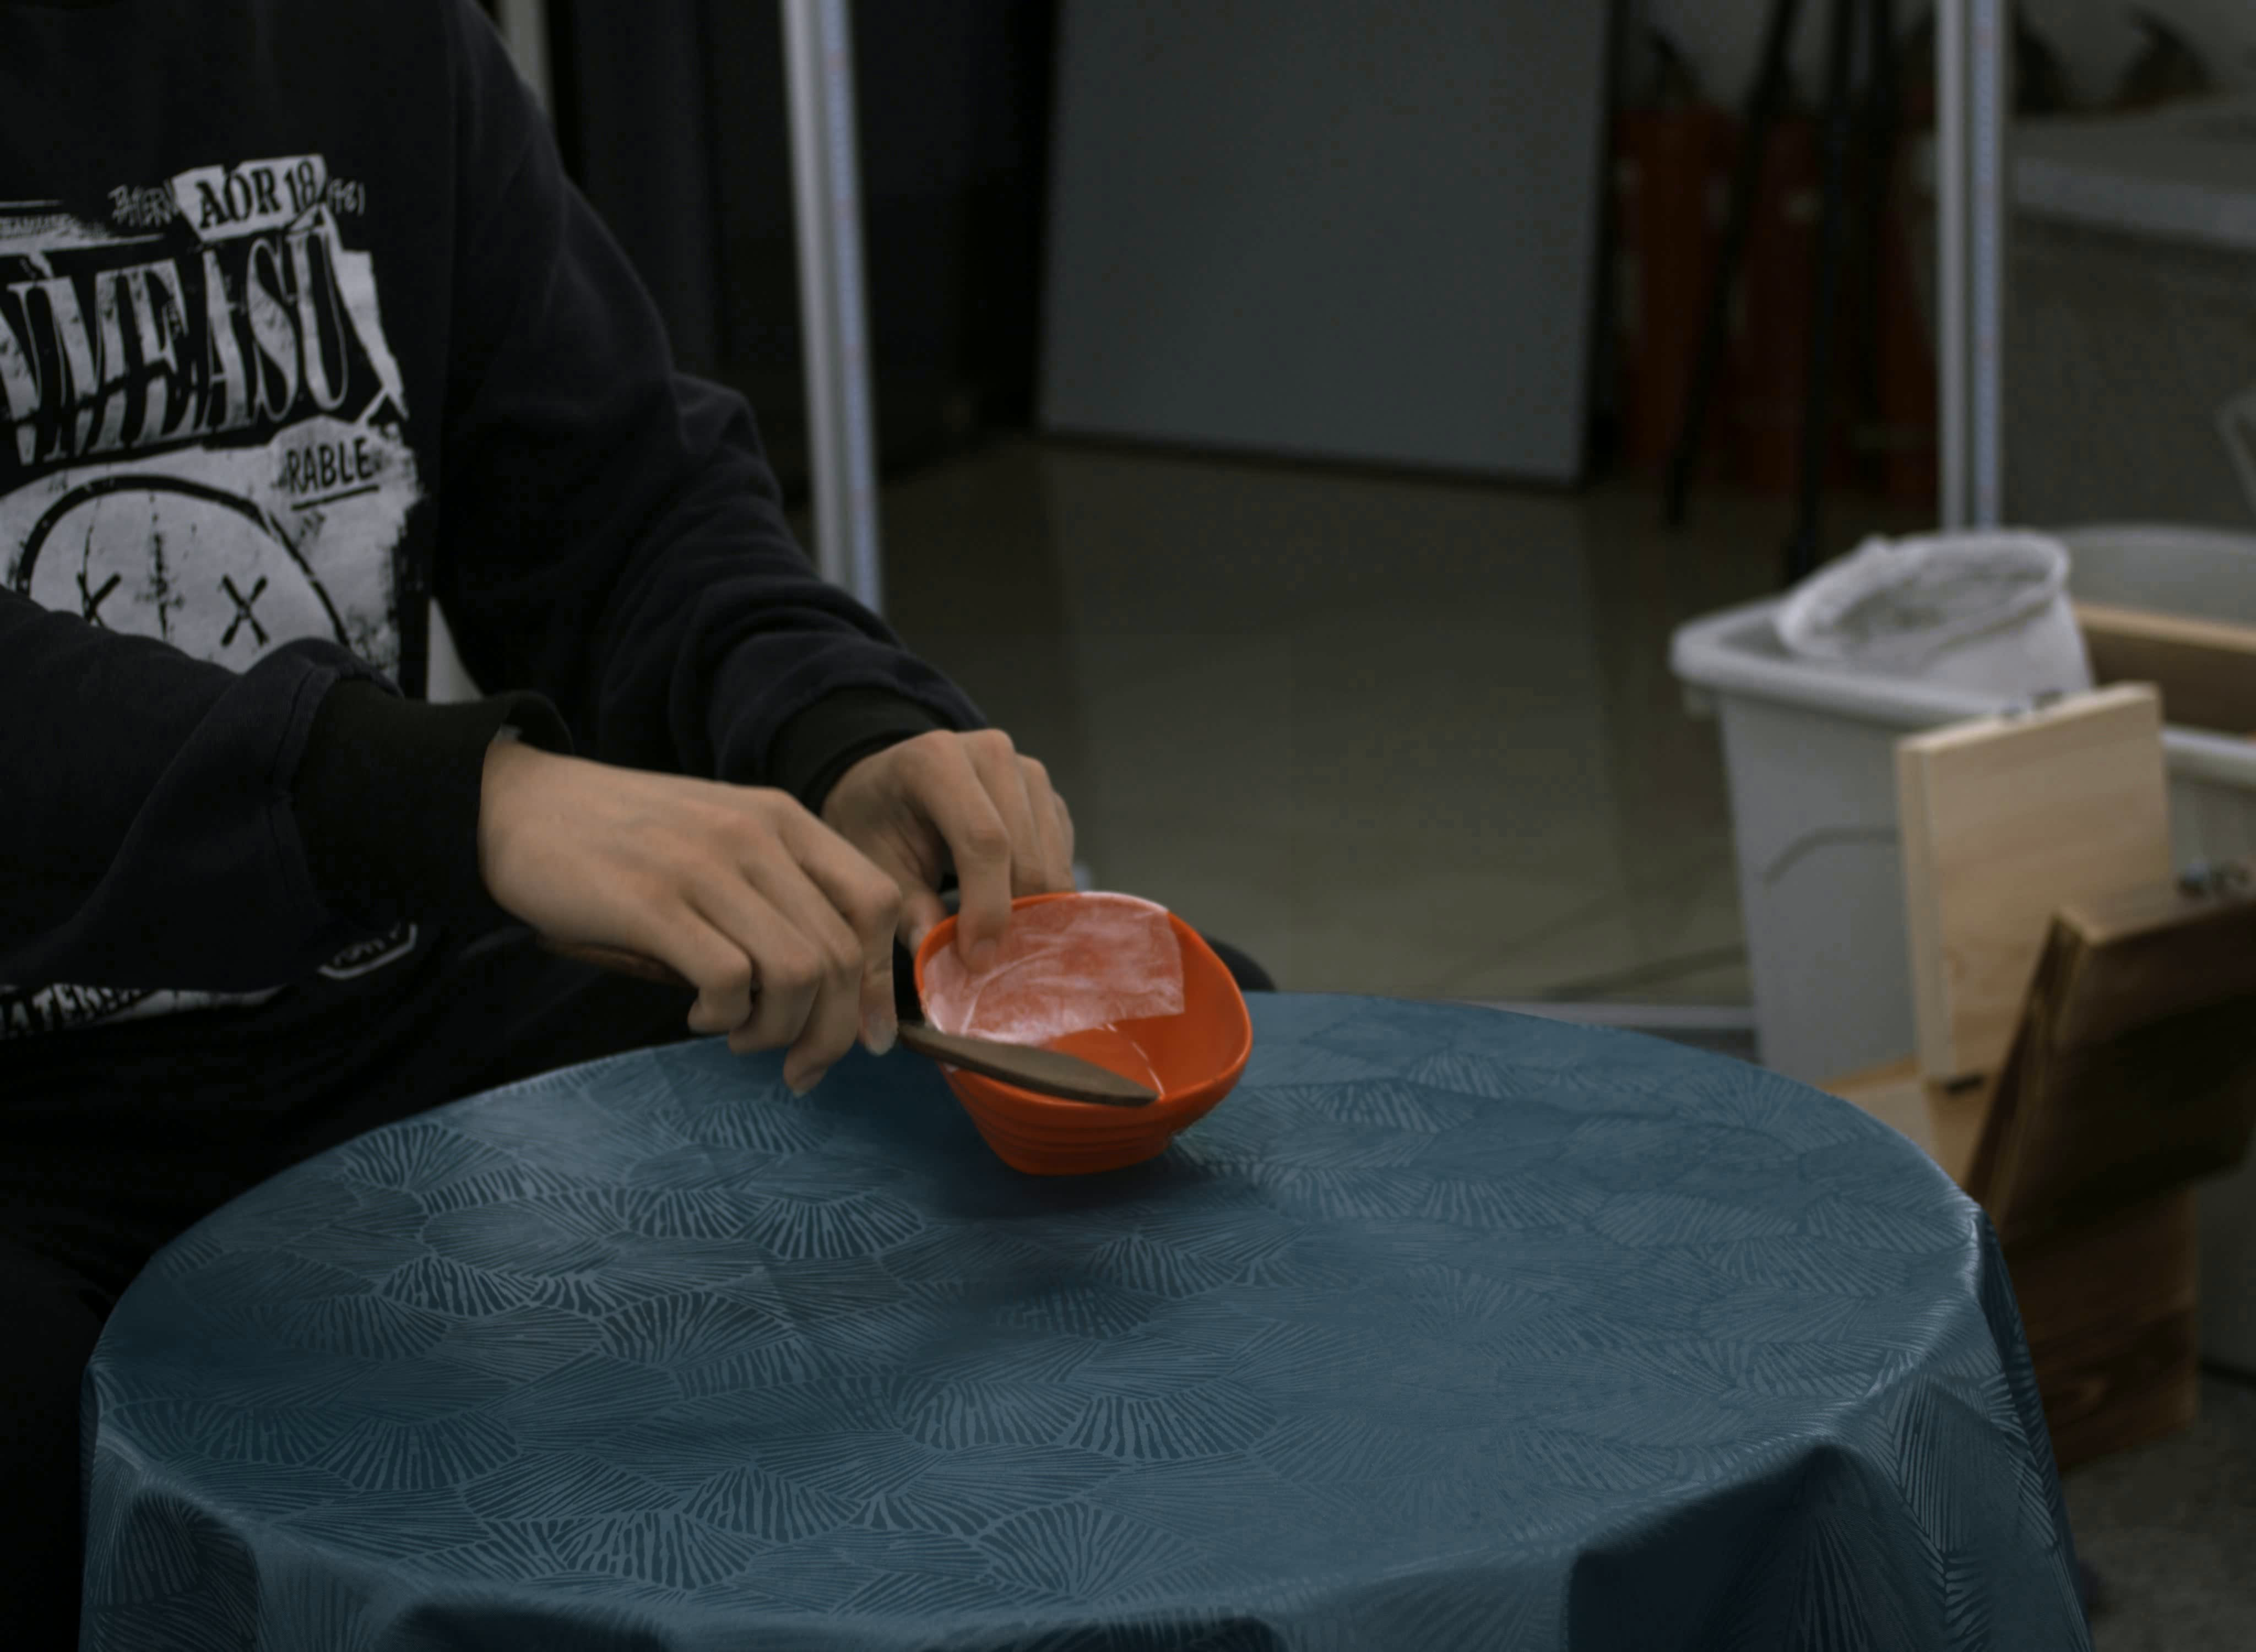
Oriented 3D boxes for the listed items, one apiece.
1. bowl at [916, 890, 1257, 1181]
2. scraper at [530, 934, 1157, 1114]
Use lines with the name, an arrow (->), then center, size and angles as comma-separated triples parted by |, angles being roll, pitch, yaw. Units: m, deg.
bowl -> -0.017, 0.076, 1.802 | 0.117, 0.052, 0.120 | 6, 37, -6
scraper -> -0.089, 0.060, 1.651 | 0.207, 0.011, 0.076 | 17, 0, -31
